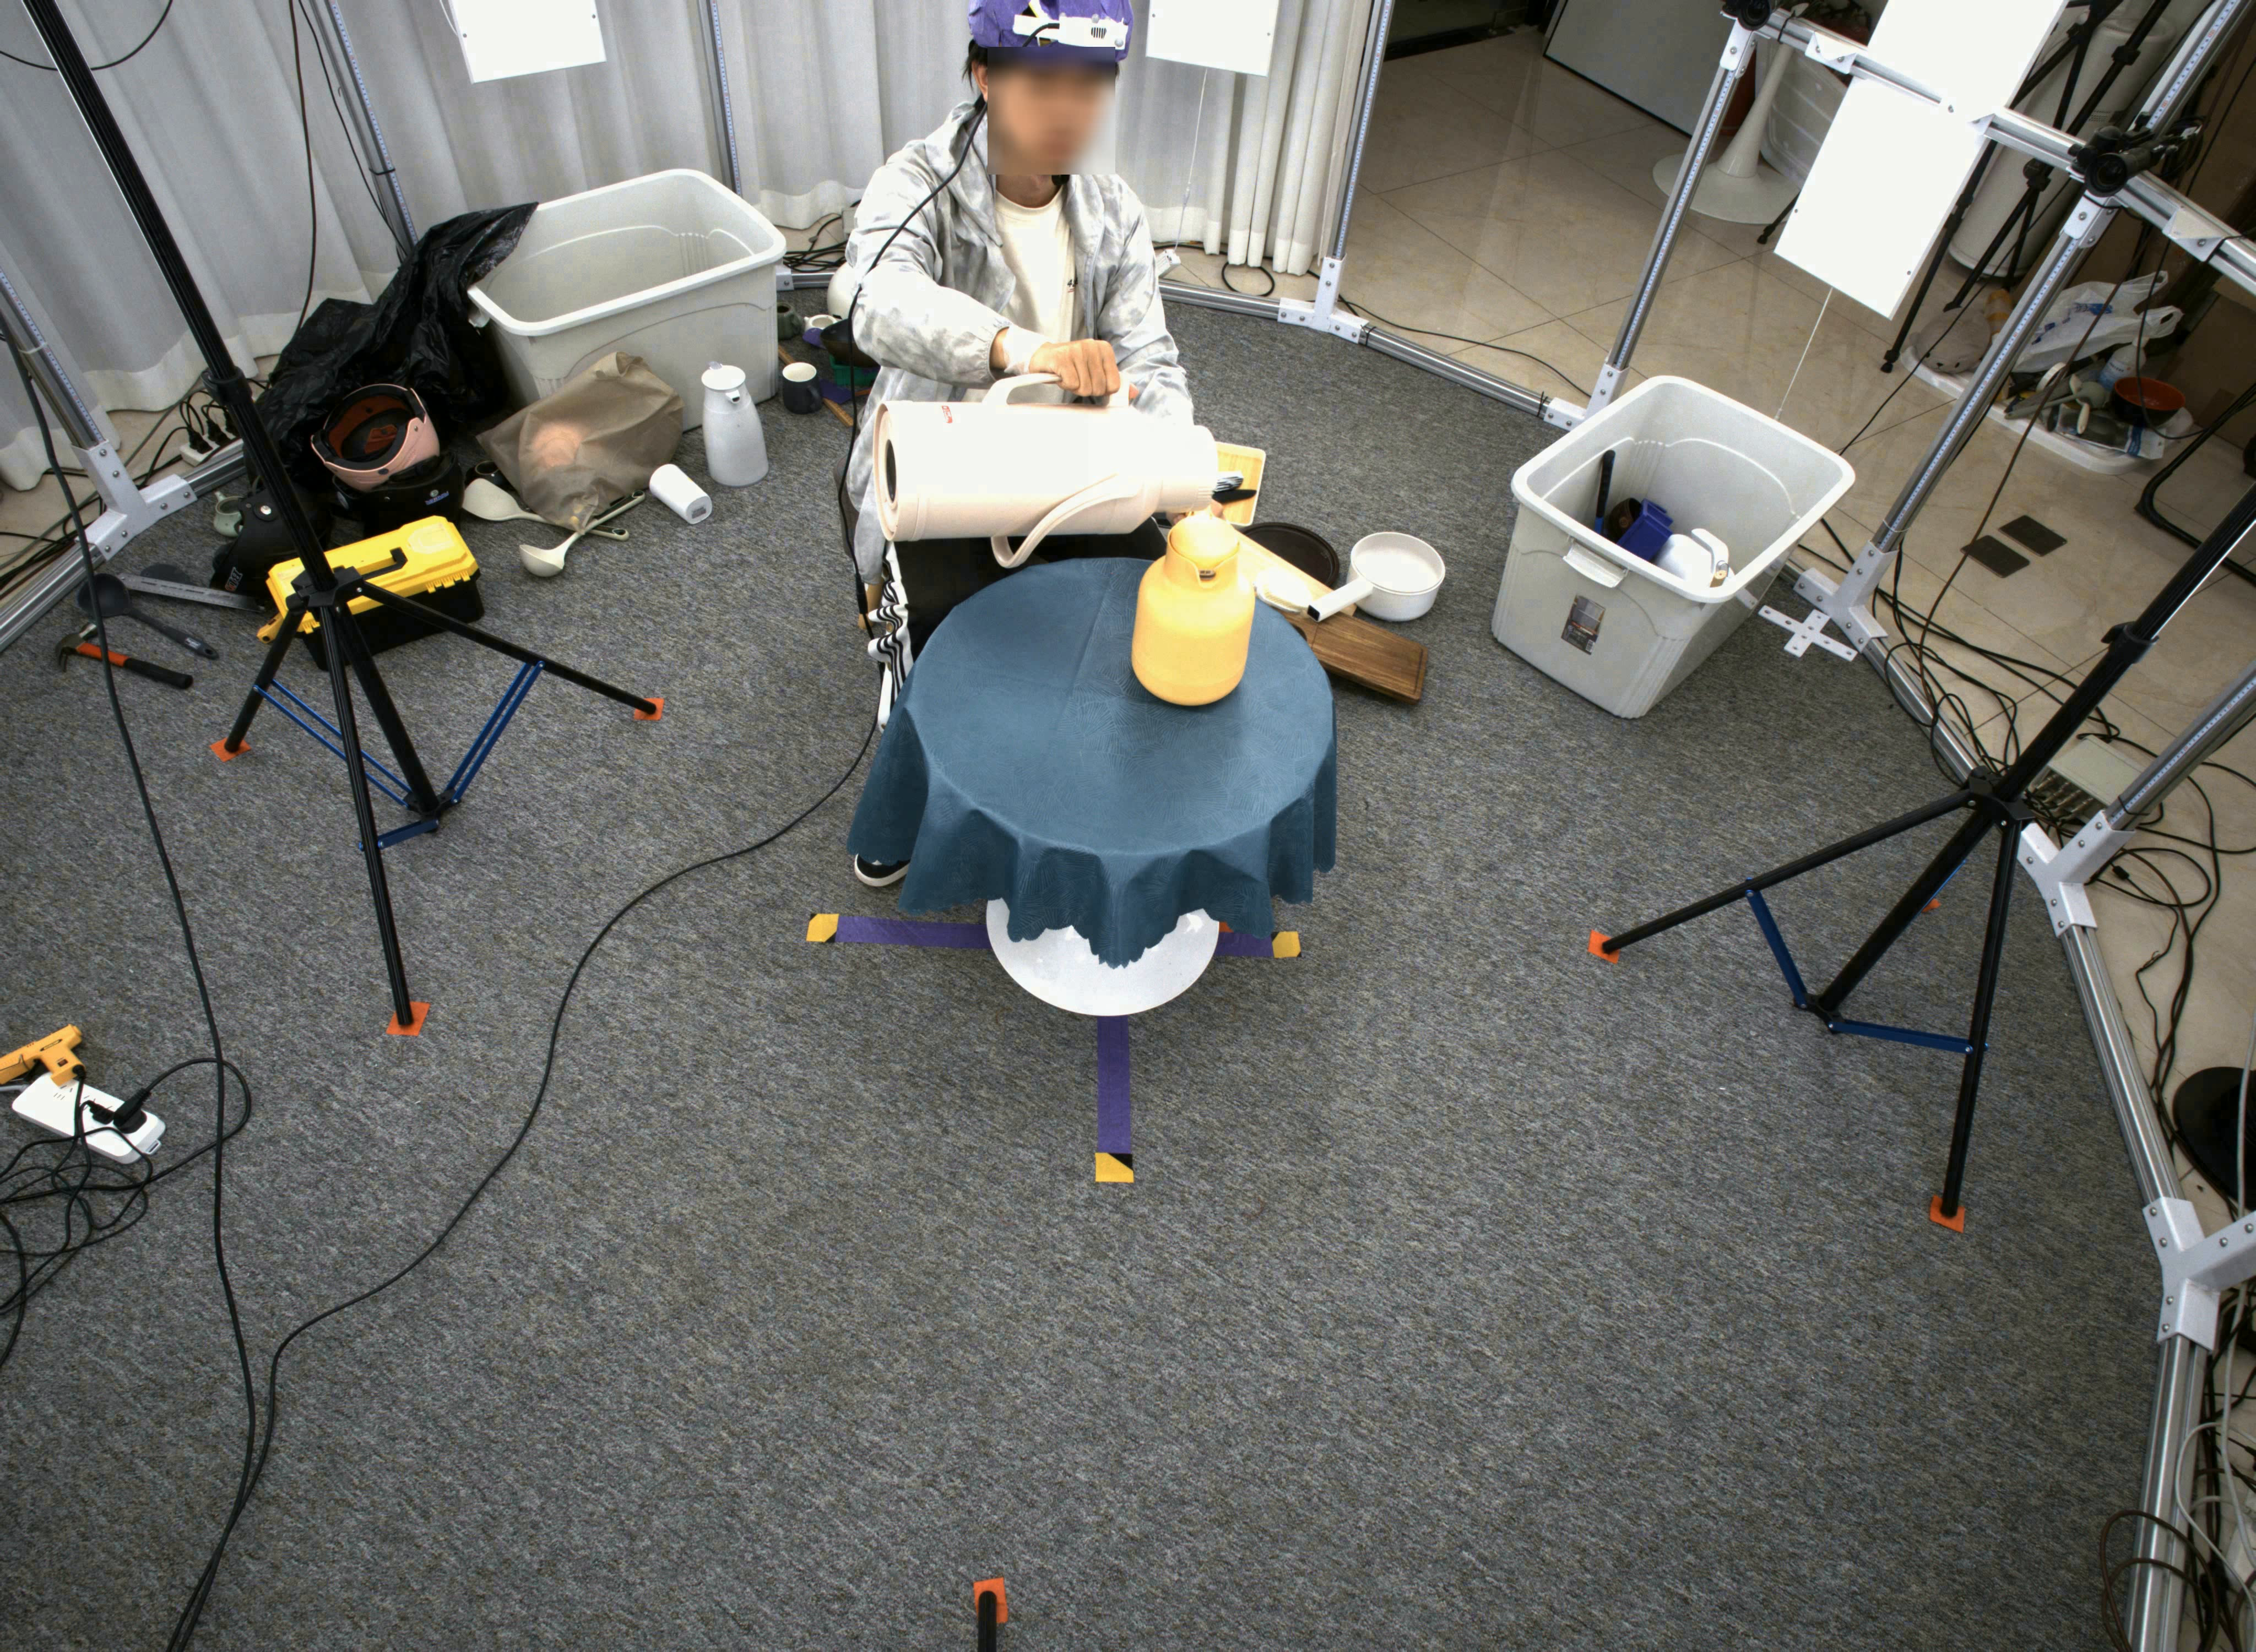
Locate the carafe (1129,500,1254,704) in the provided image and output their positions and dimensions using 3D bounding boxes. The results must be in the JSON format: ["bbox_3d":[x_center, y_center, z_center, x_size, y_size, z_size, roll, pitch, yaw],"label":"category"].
[{"bbox_3d":[0.092,-0.317,1.774,0.163,0.254,0.207,4,50,-4],"label":"carafe"}]

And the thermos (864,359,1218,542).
[{"bbox_3d":[-0.097,-0.444,1.535,0.405,0.203,0.179,-5,26,-17],"label":"thermos"}]
